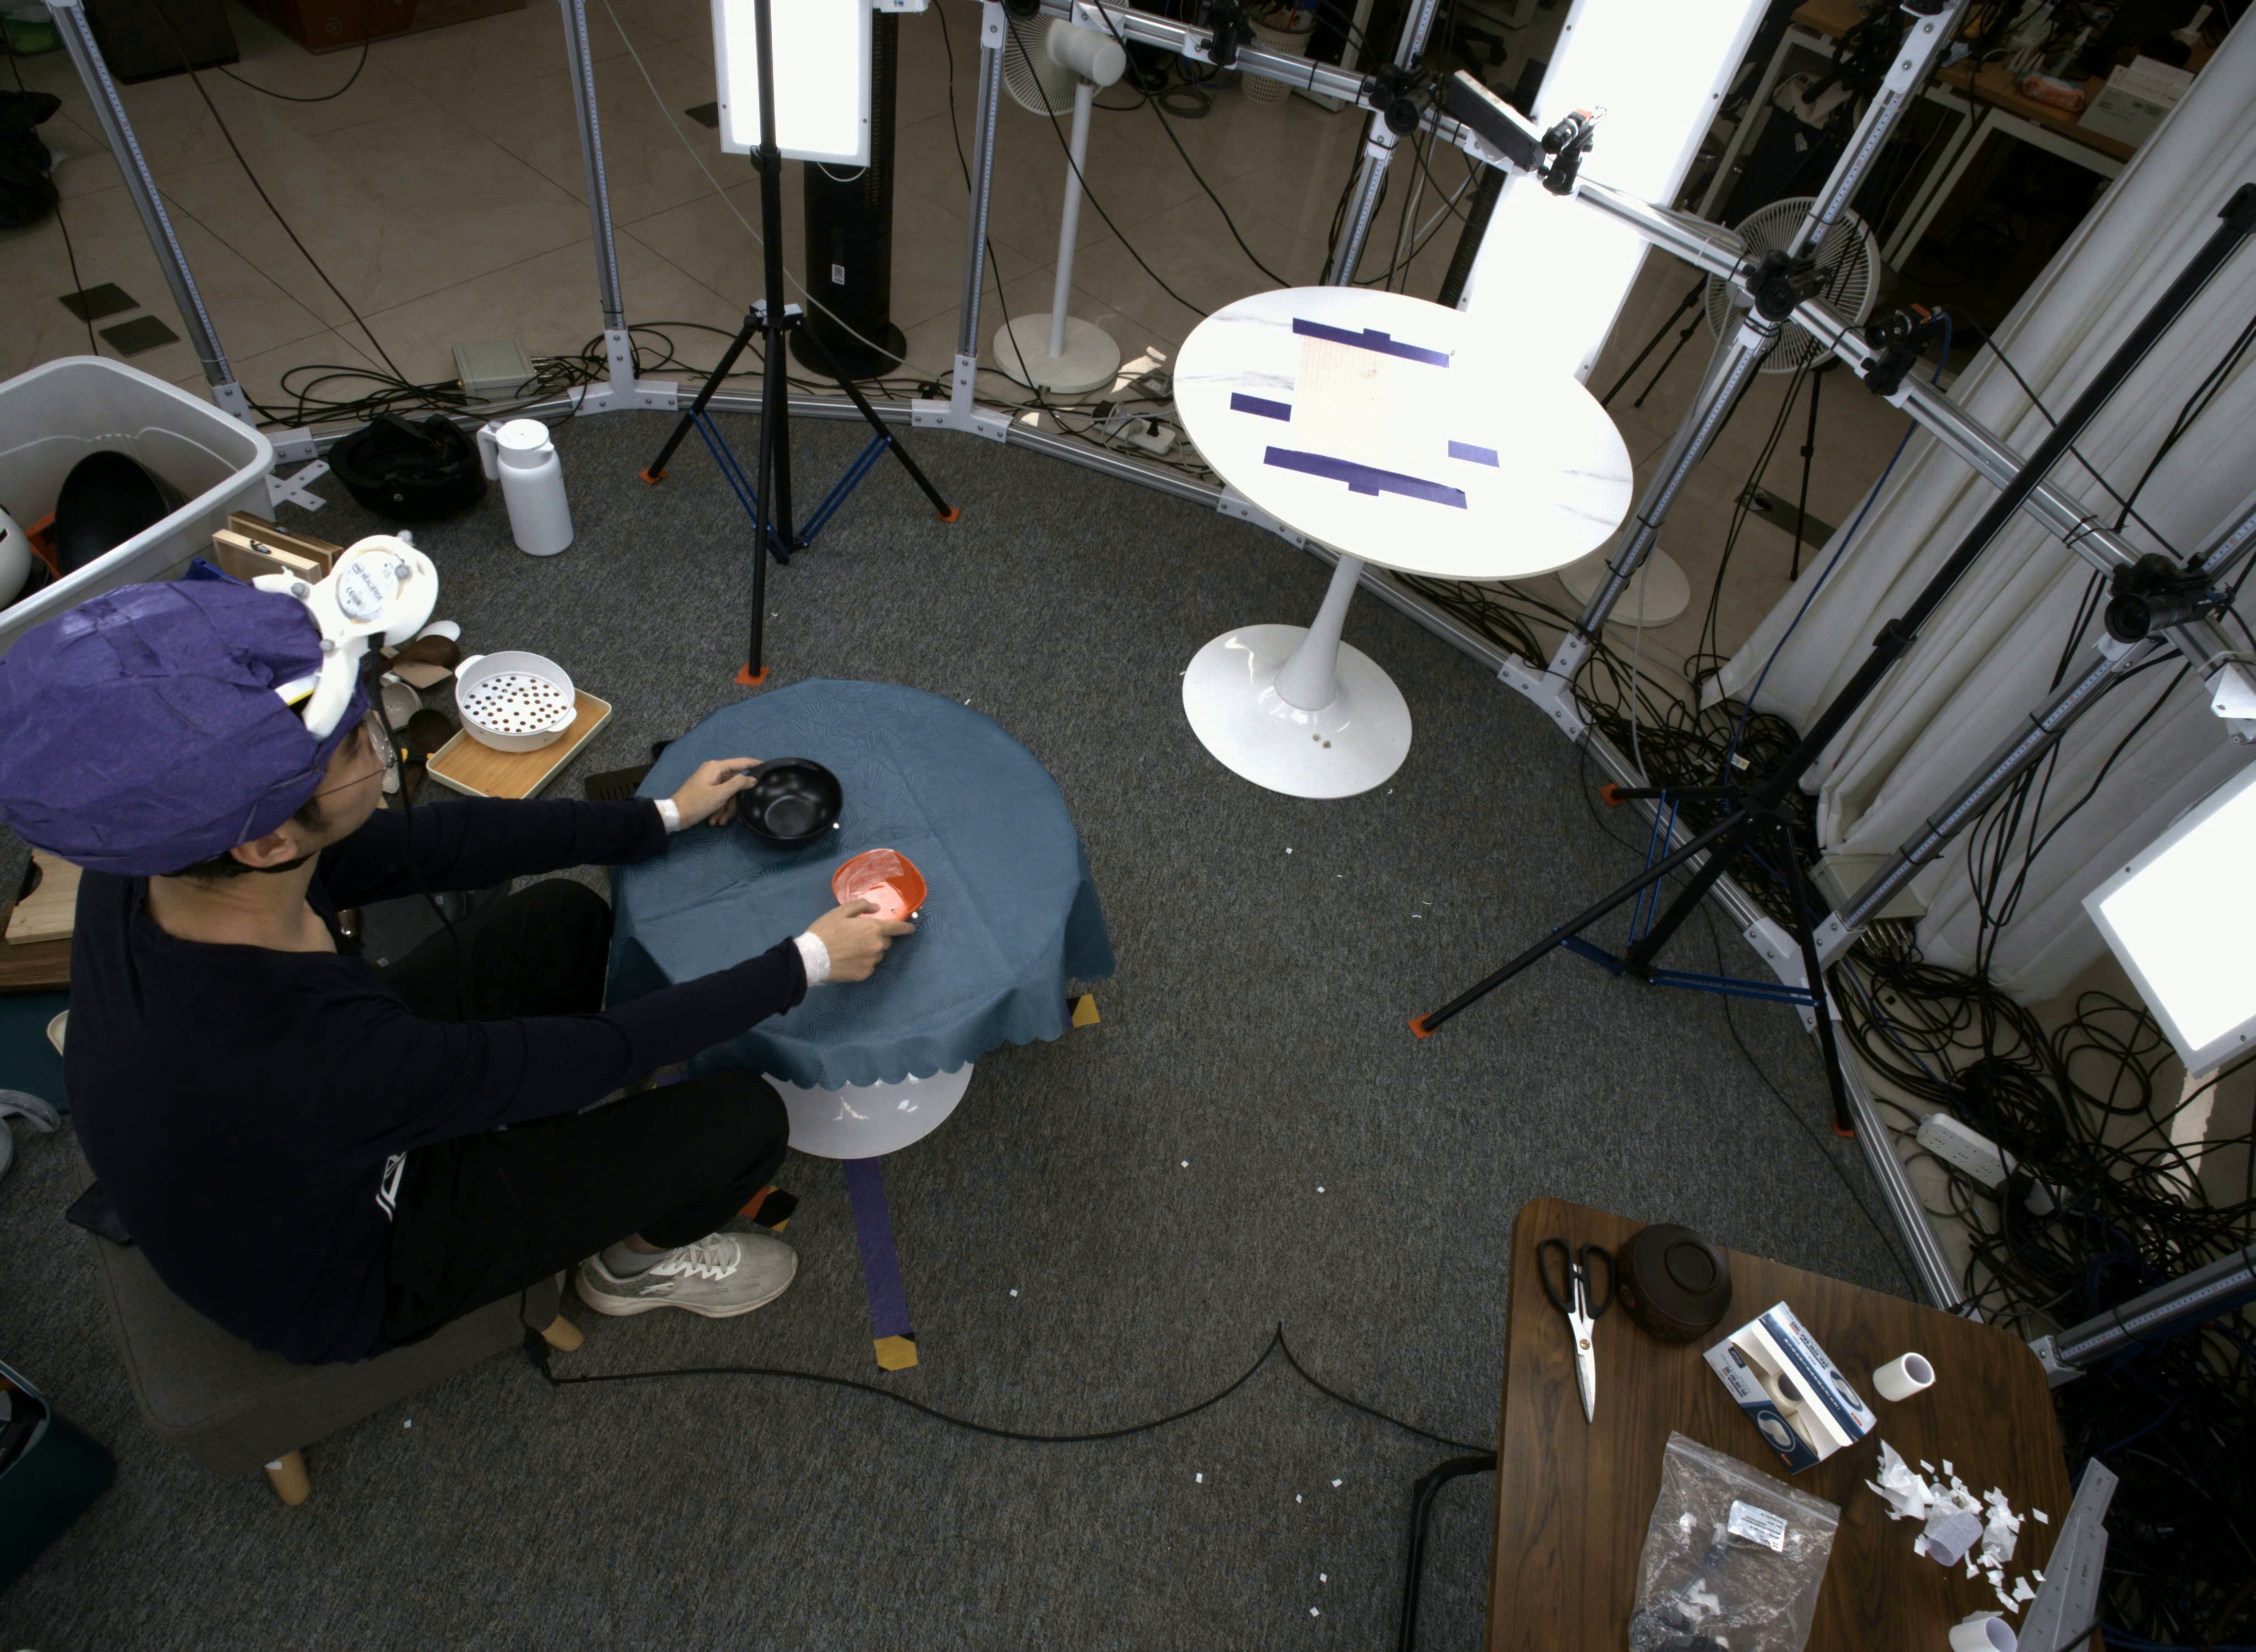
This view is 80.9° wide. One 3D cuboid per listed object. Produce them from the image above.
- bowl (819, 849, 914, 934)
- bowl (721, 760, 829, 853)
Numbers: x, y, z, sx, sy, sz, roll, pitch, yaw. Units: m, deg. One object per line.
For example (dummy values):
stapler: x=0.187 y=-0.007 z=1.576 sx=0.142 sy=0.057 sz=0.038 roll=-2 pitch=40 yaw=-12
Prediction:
bowl: x=-0.334 y=0.091 z=1.657 sx=0.119 sy=0.052 sz=0.117 roll=9 pitch=52 yaw=-10
bowl: x=-0.464 y=-0.019 z=1.710 sx=0.139 sy=0.051 sz=0.138 roll=6 pitch=56 yaw=-6
